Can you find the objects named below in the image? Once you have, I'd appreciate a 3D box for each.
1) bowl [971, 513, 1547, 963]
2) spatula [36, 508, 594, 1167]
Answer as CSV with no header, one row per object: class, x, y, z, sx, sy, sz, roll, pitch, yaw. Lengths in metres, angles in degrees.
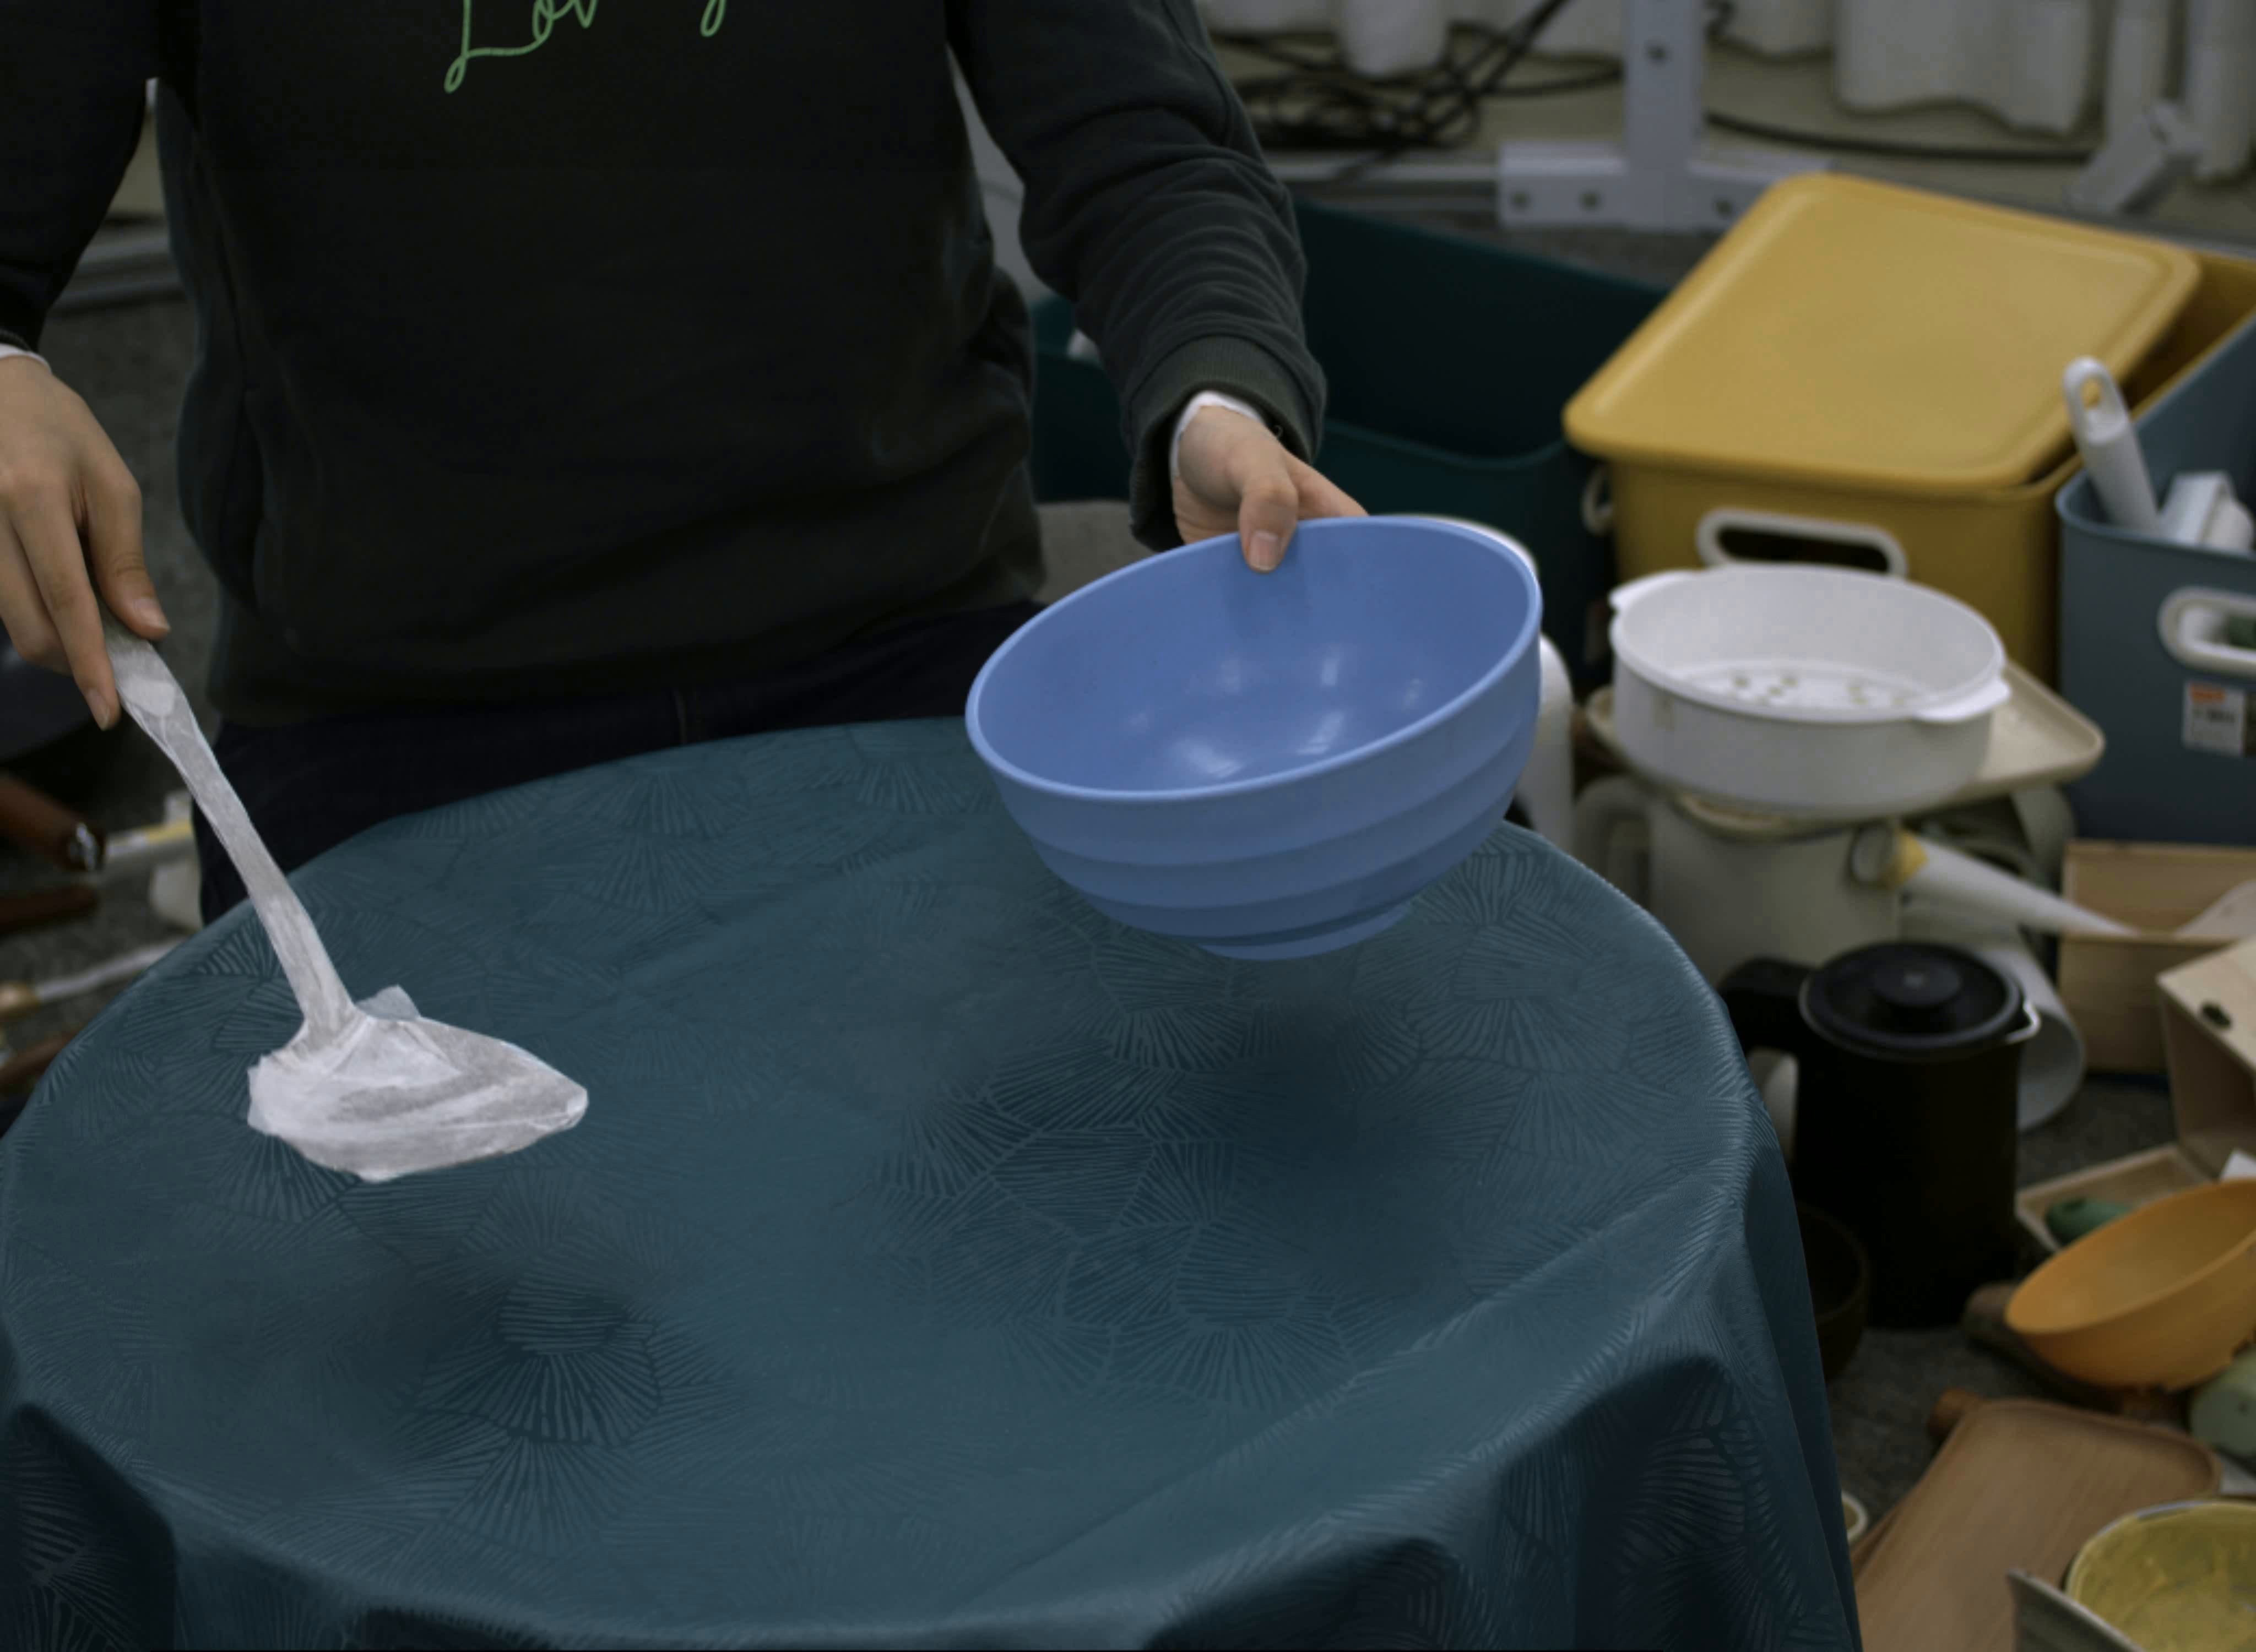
bowl,0.052,-0.018,1.884,0.195,0.094,0.199,-11,27,6
spatula,-0.292,-0.004,1.862,0.099,0.044,0.369,-12,48,-29
